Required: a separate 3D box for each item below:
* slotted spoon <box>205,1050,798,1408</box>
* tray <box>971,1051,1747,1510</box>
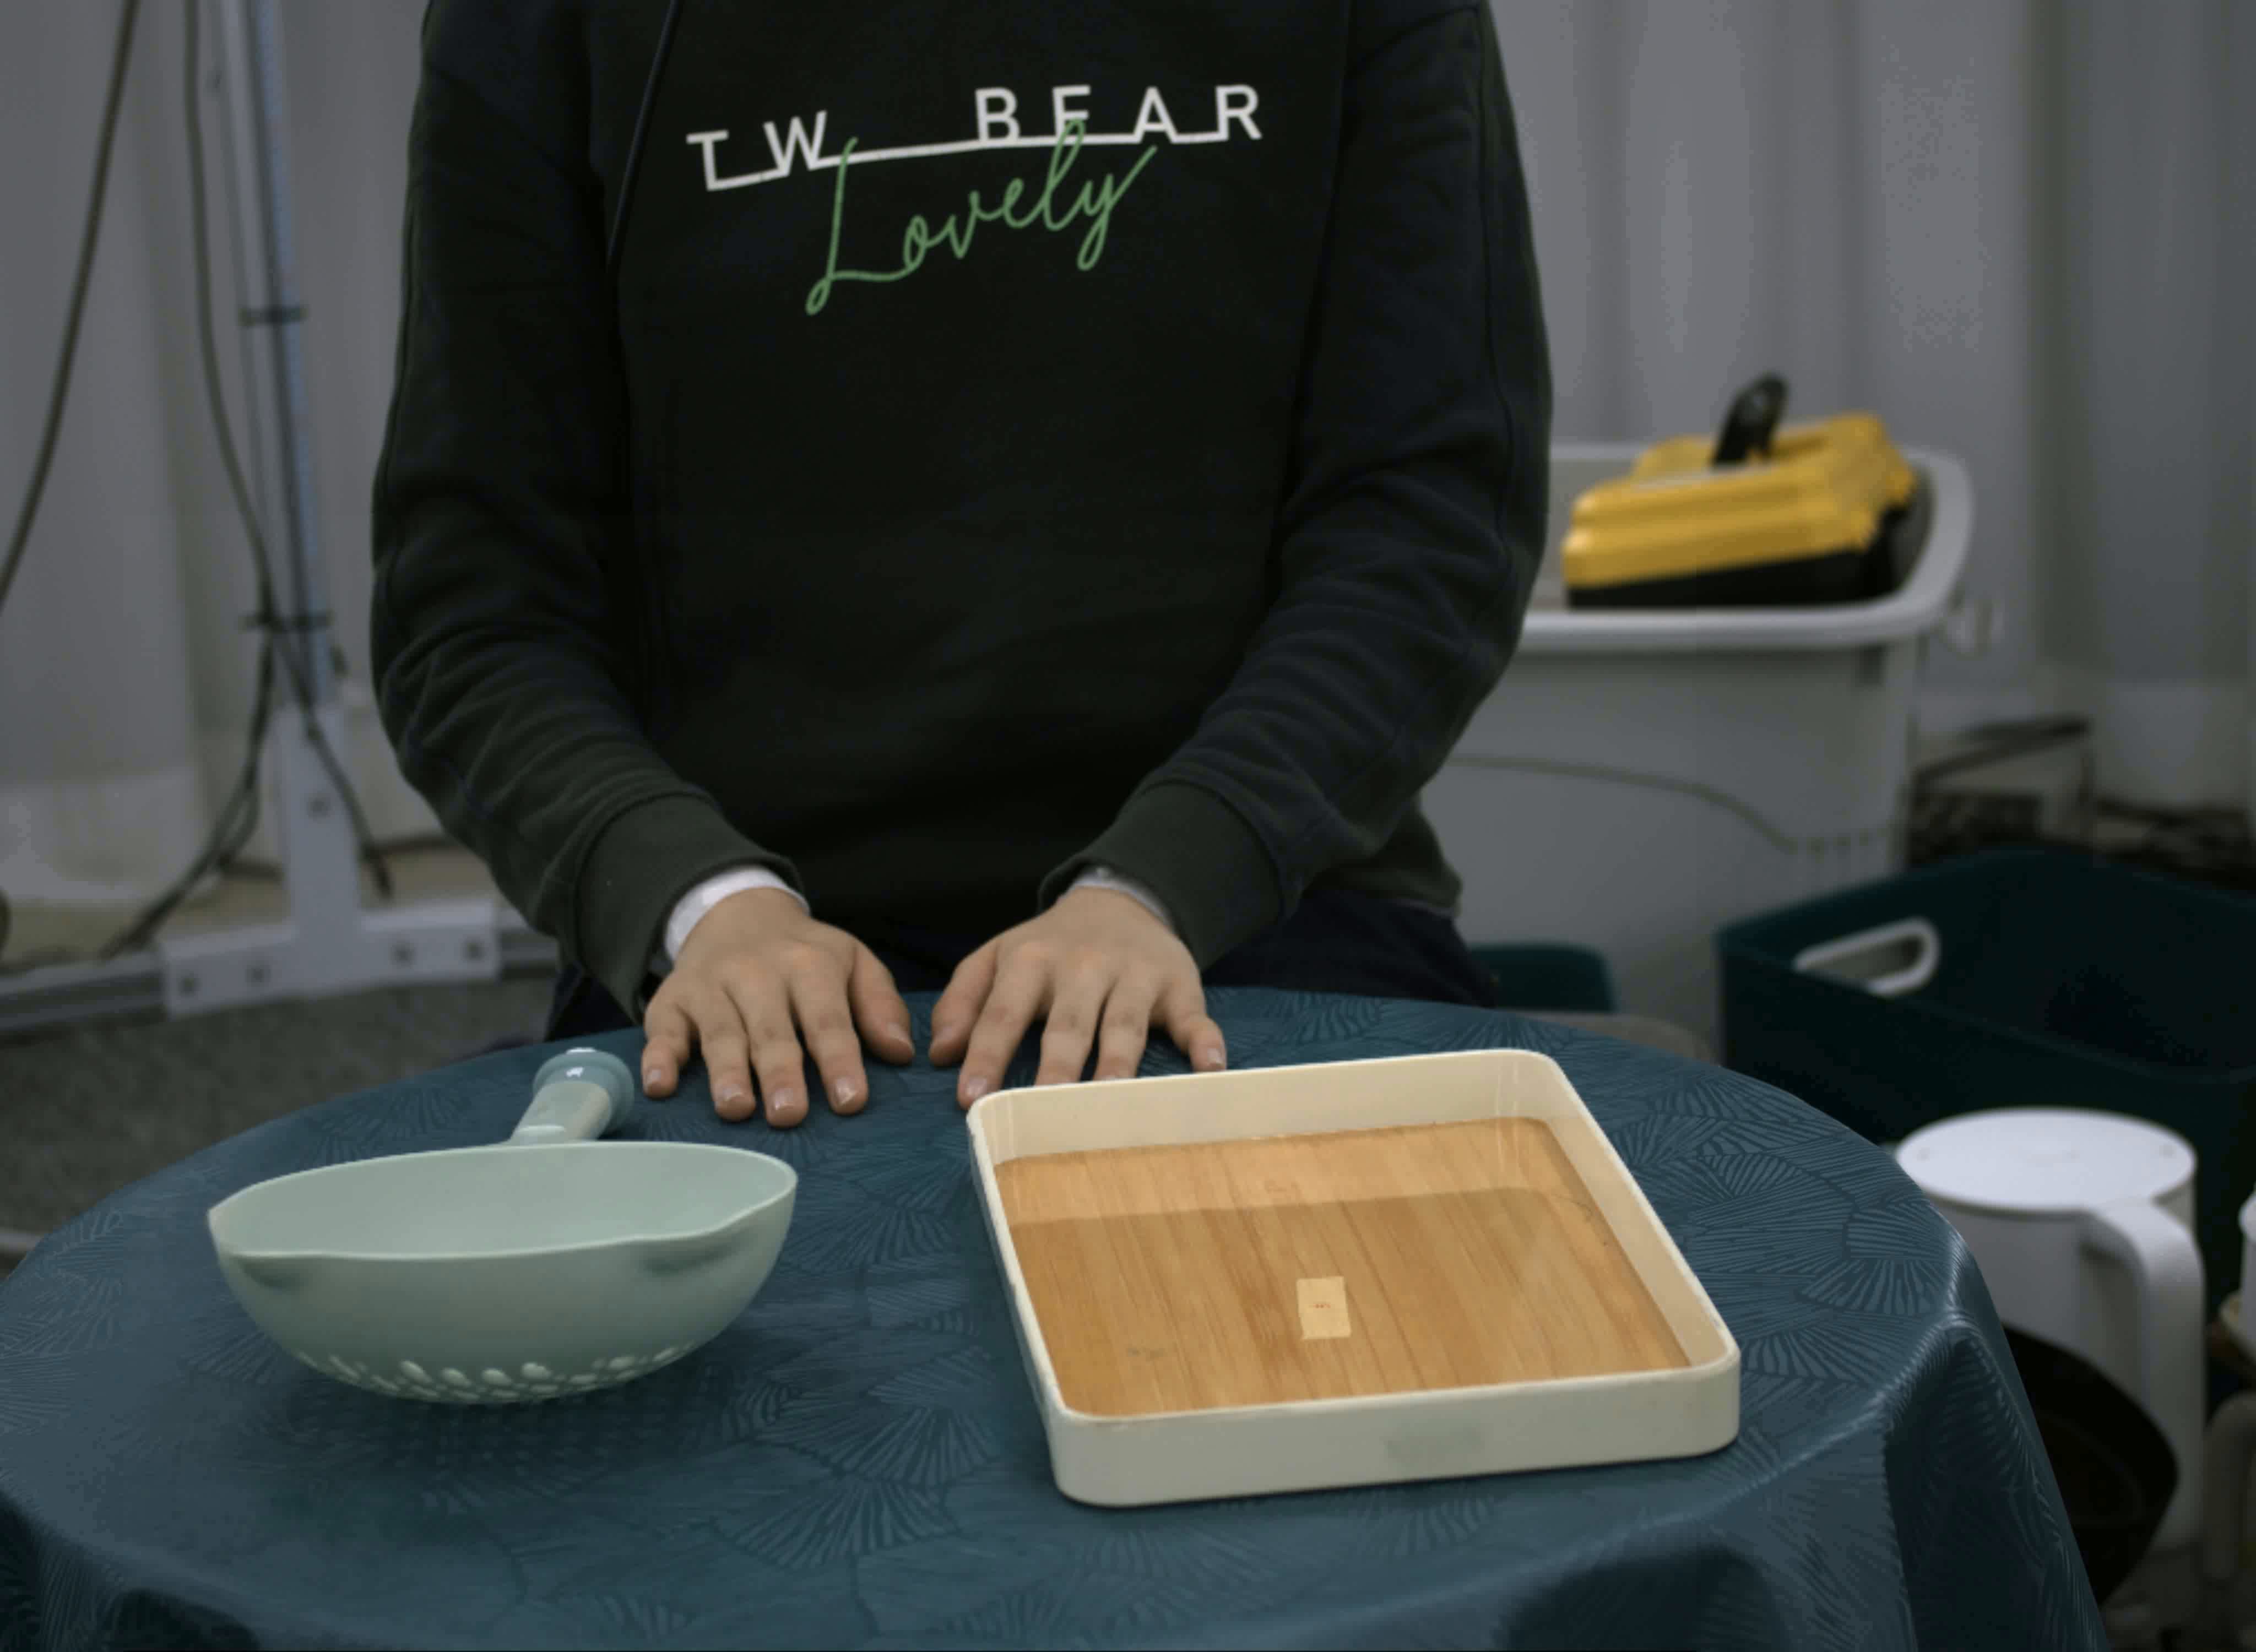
[{"bbox_3d":[-0.177,0.106,1.657,0.169,0.075,0.361,-2,15,0],"label":"slotted spoon"},{"bbox_3d":[0.060,0.128,1.603,0.191,0.027,0.302,-4,15,-5],"label":"tray"}]
